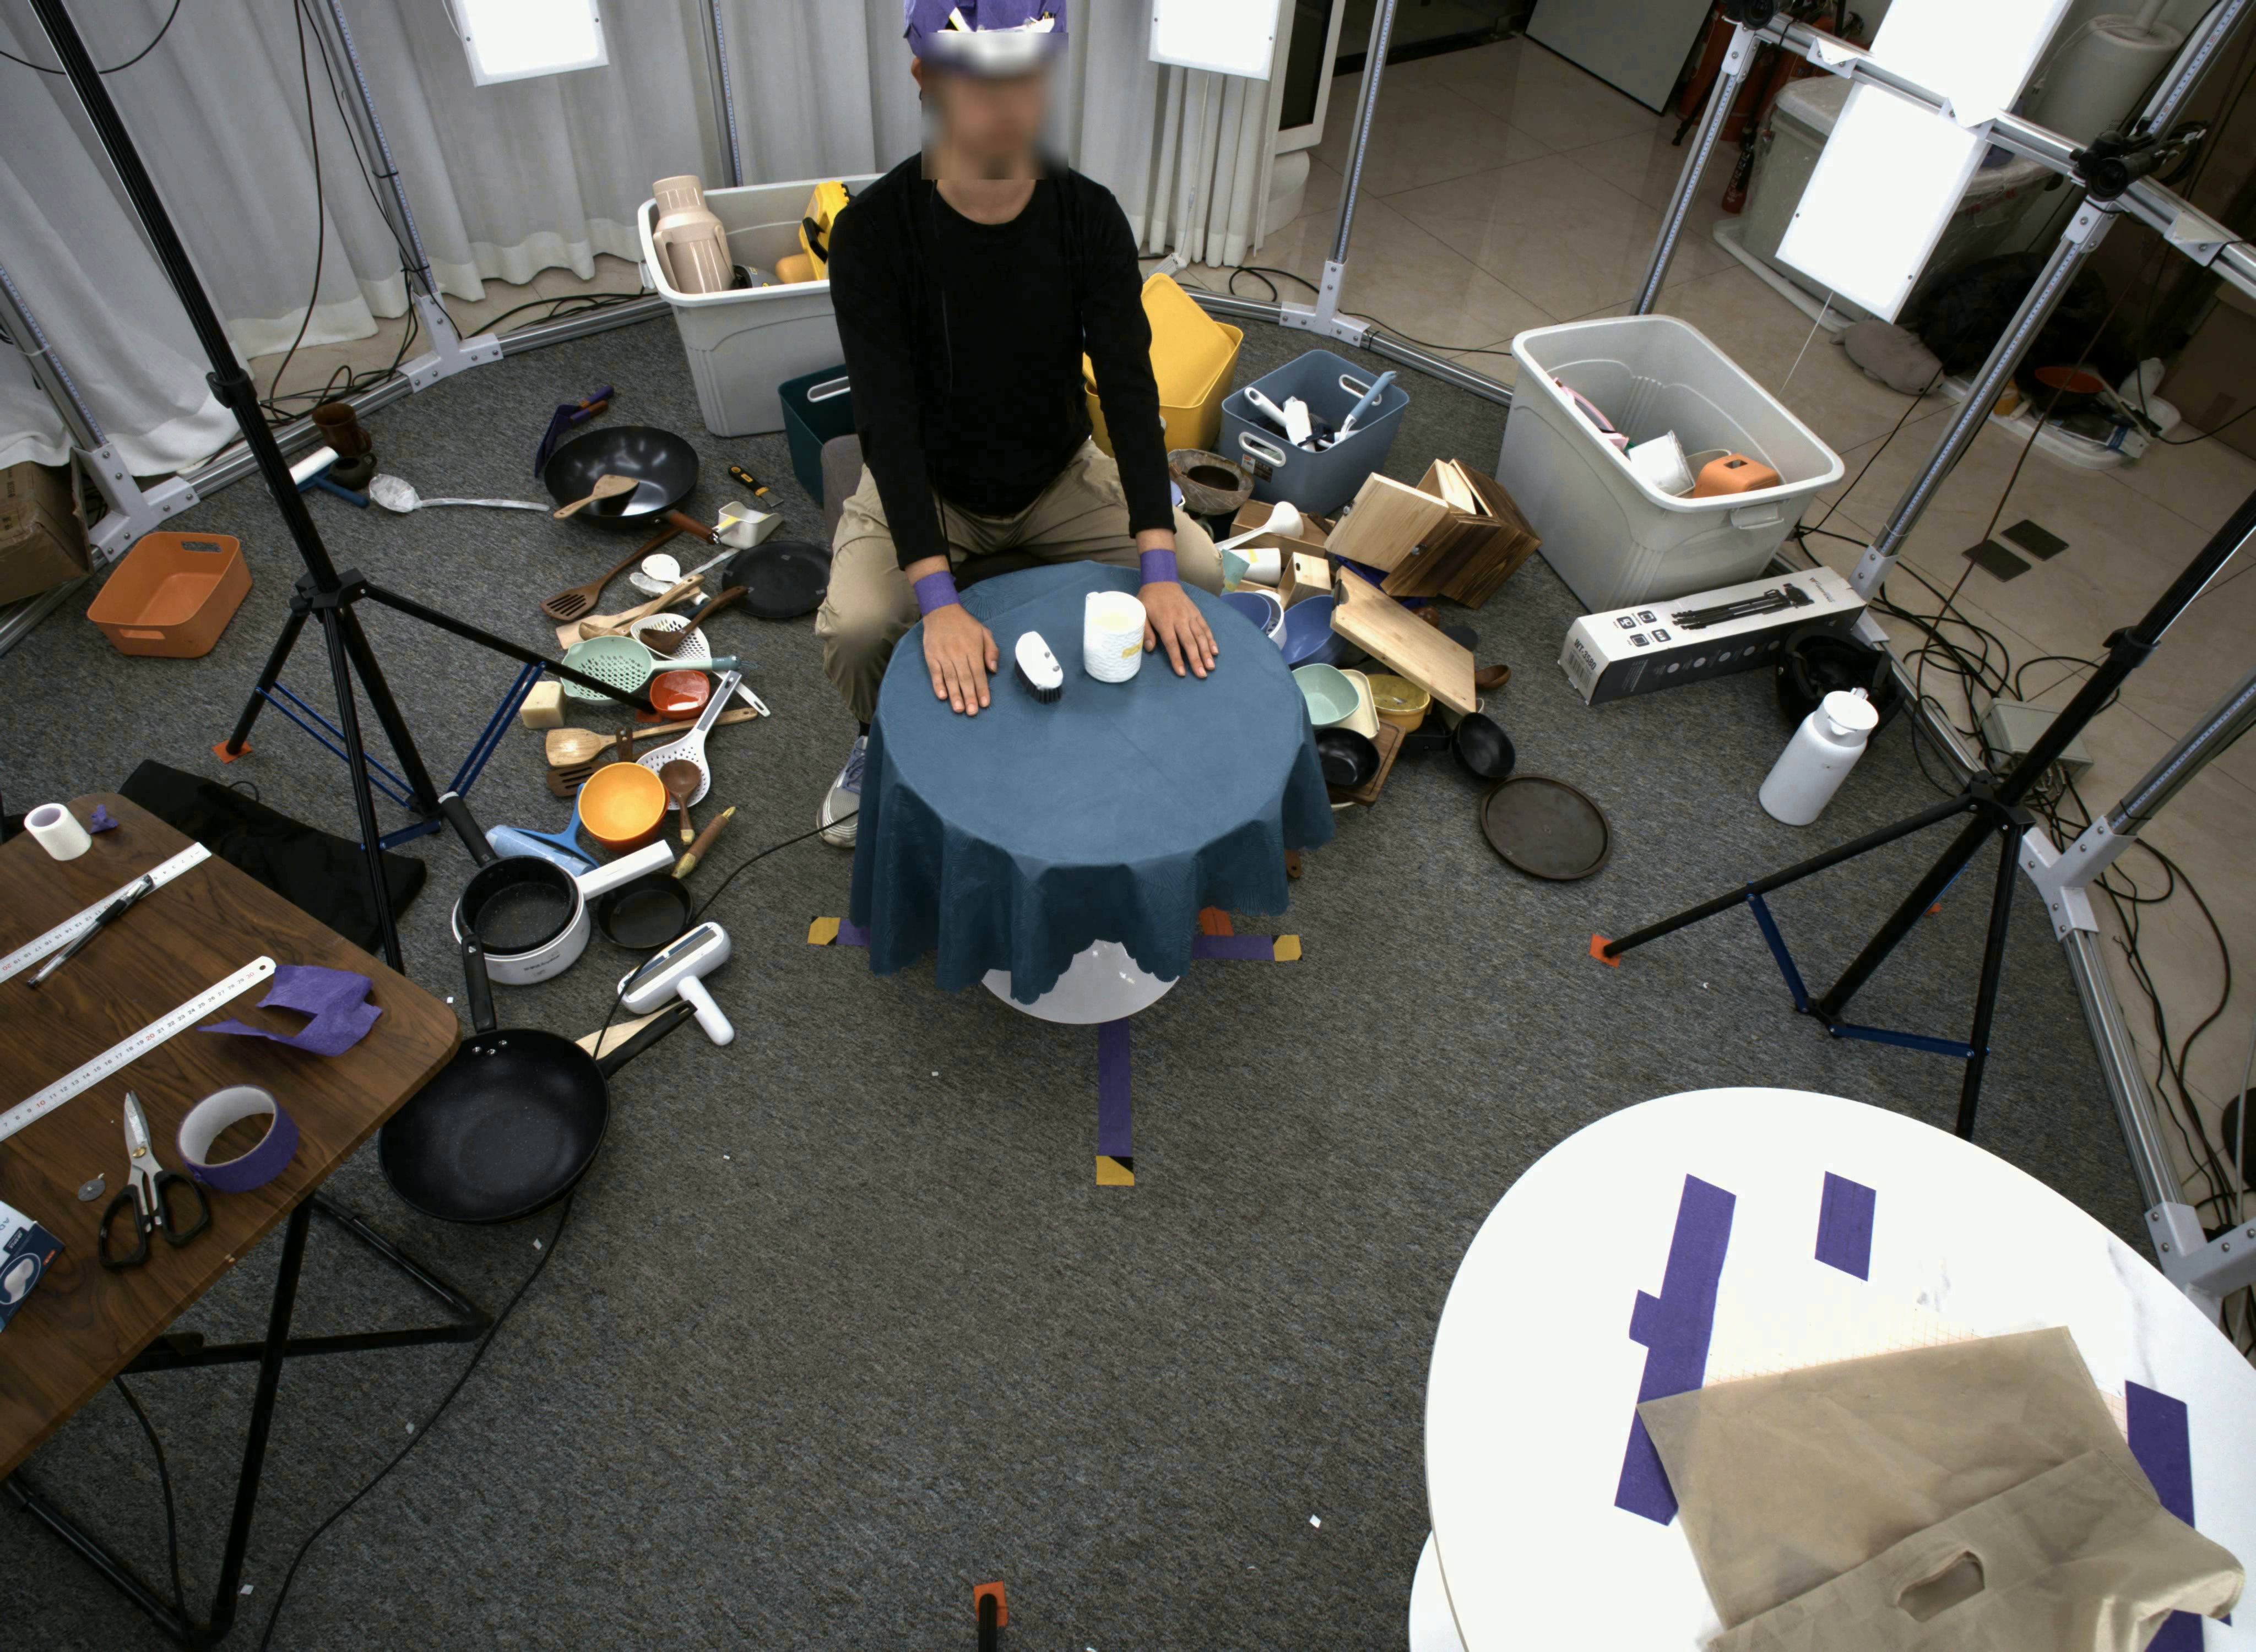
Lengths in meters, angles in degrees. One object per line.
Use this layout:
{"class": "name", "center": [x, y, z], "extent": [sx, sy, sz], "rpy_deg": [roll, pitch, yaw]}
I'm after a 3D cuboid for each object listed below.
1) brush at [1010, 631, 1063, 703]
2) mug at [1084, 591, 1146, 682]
{"class": "brush", "center": [-0.128, -0.232, 1.811], "extent": [0.050, 0.071, 0.101], "rpy_deg": [-22, 58, -27]}
{"class": "mug", "center": [-0.028, -0.280, 1.840], "extent": [0.085, 0.099, 0.121], "rpy_deg": [-21, 54, -20]}
